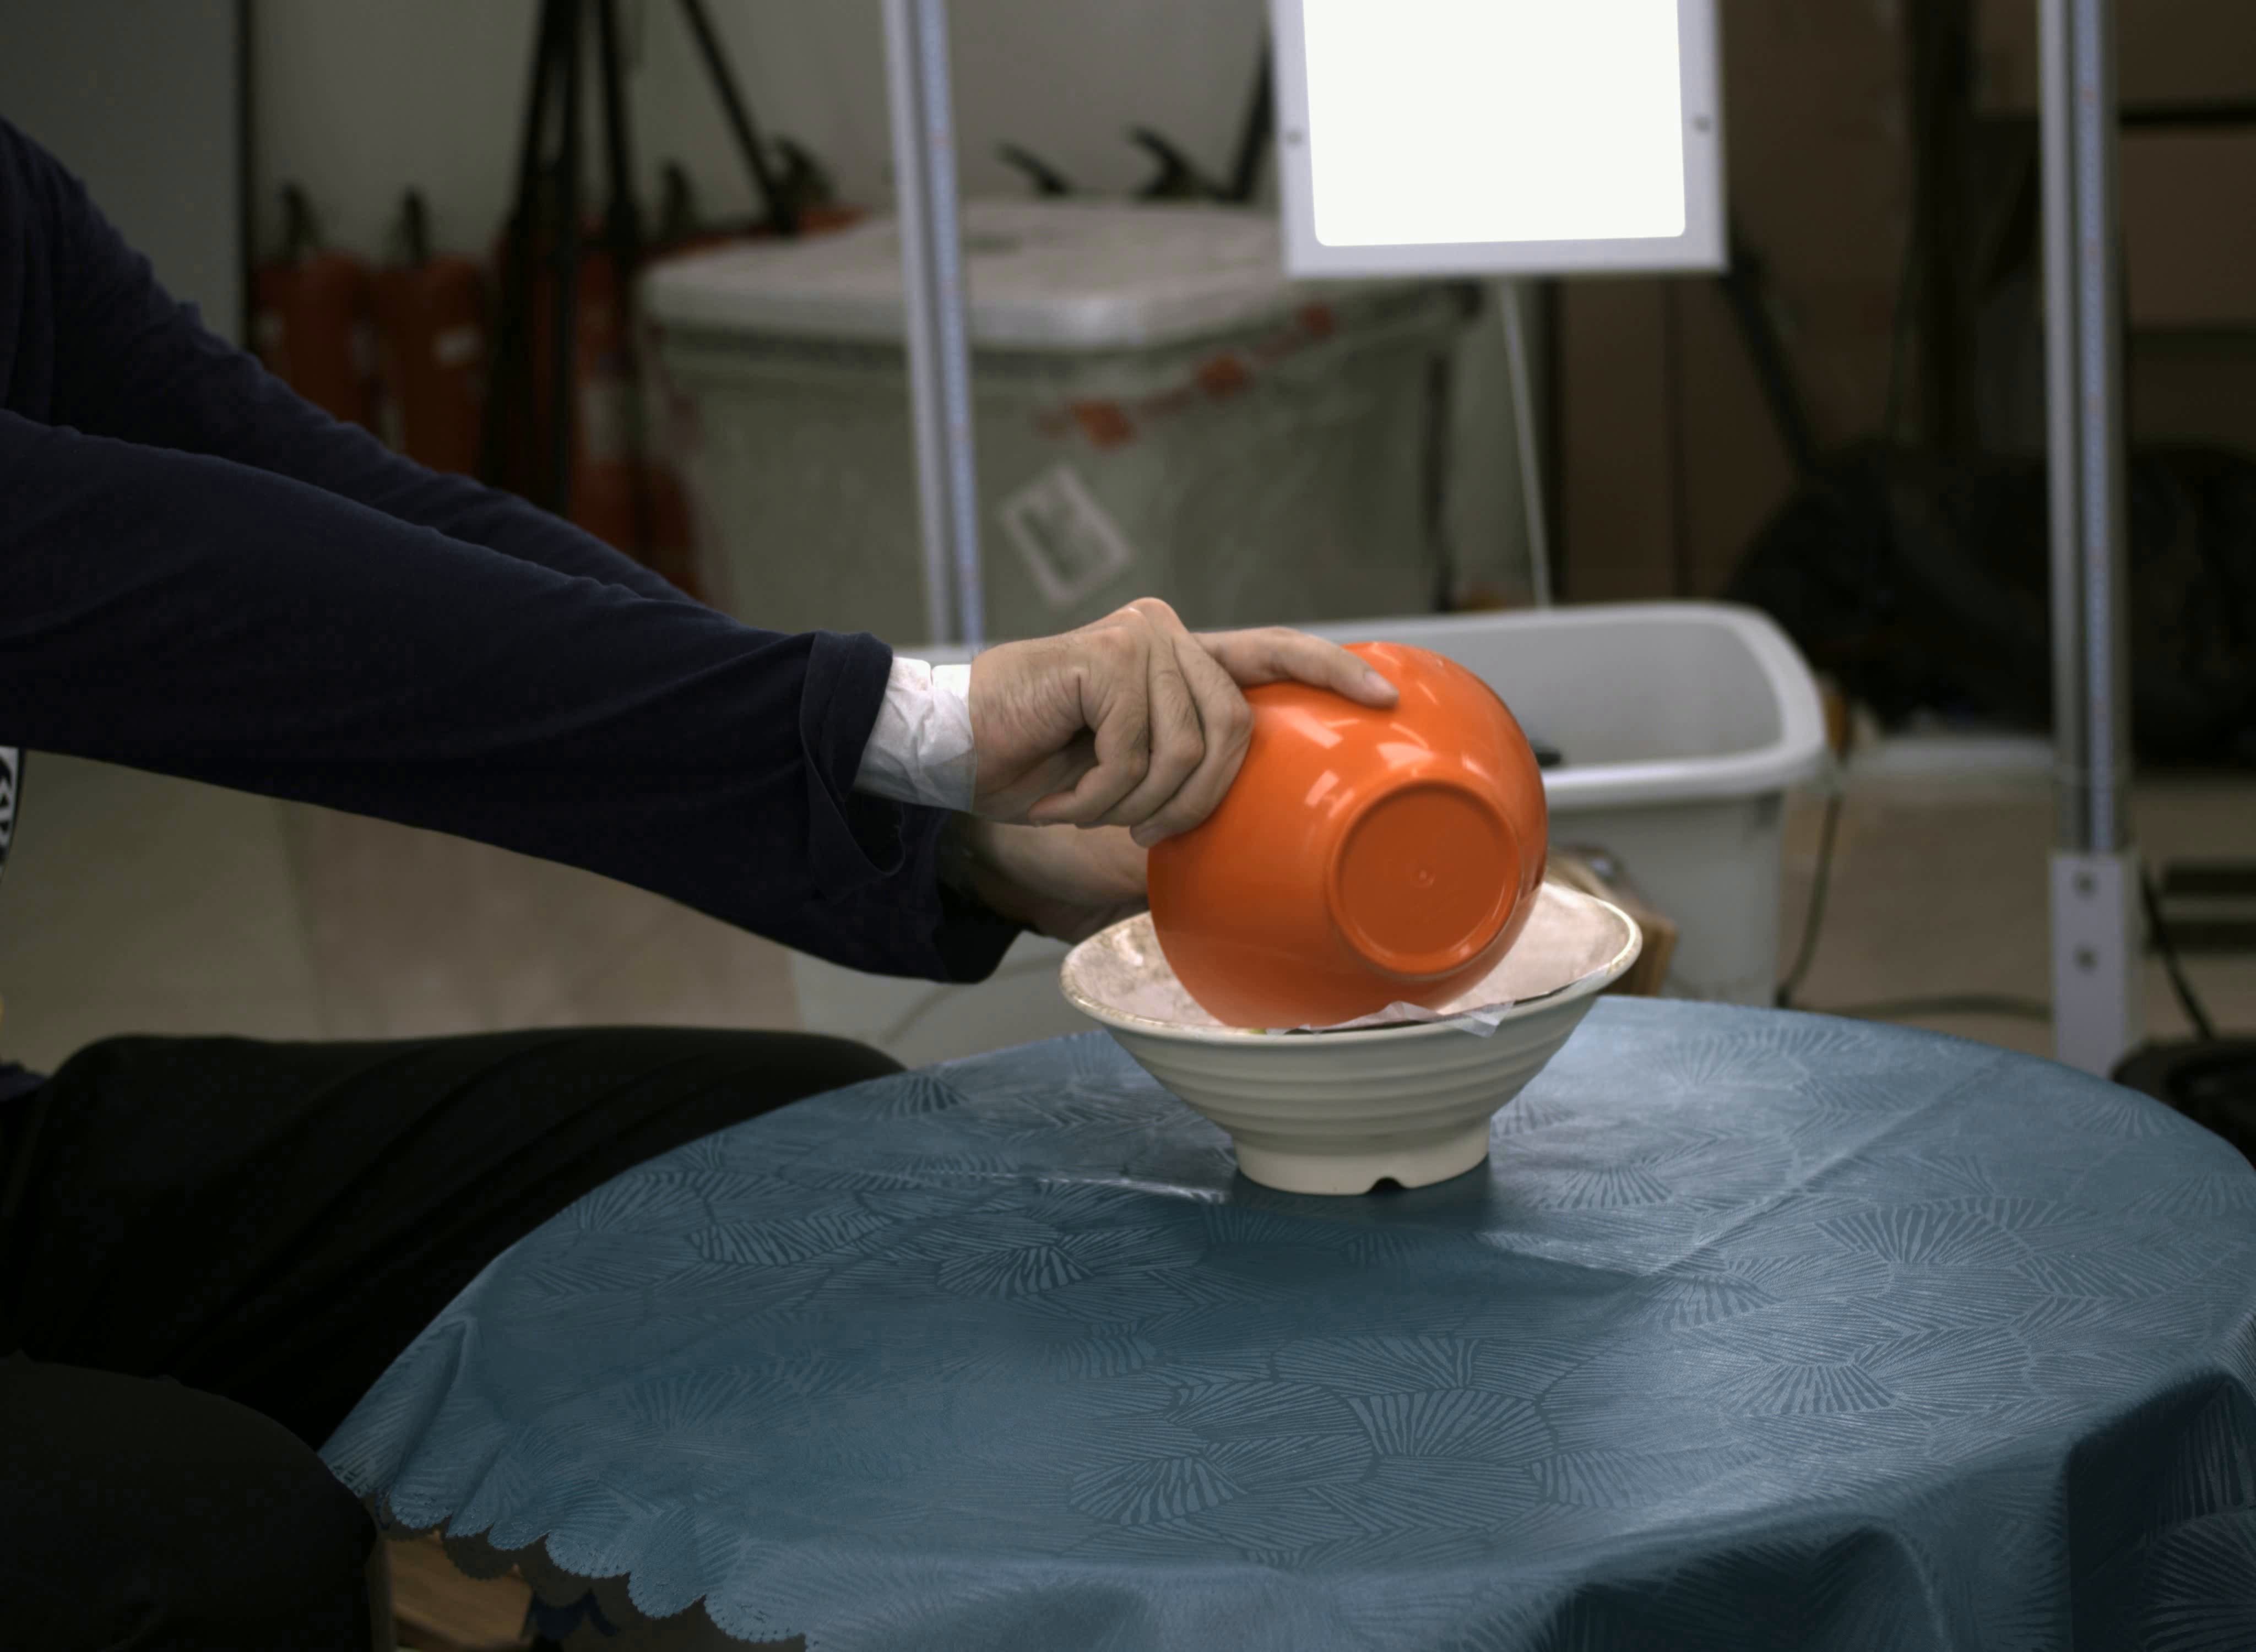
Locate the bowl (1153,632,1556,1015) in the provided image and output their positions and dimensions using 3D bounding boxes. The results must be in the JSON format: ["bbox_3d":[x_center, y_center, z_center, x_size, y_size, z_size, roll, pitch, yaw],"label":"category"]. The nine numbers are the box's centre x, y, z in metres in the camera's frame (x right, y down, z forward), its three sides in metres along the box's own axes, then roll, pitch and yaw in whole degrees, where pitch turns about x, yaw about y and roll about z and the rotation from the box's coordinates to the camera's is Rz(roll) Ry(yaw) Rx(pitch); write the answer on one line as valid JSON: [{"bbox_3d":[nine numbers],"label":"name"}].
[{"bbox_3d":[0.089,0.013,1.829,0.146,0.148,0.106,-8,14,-14],"label":"bowl"}]

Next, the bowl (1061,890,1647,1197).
[{"bbox_3d":[0.081,0.079,1.905,0.203,0.078,0.204,-6,12,0],"label":"bowl"}]
